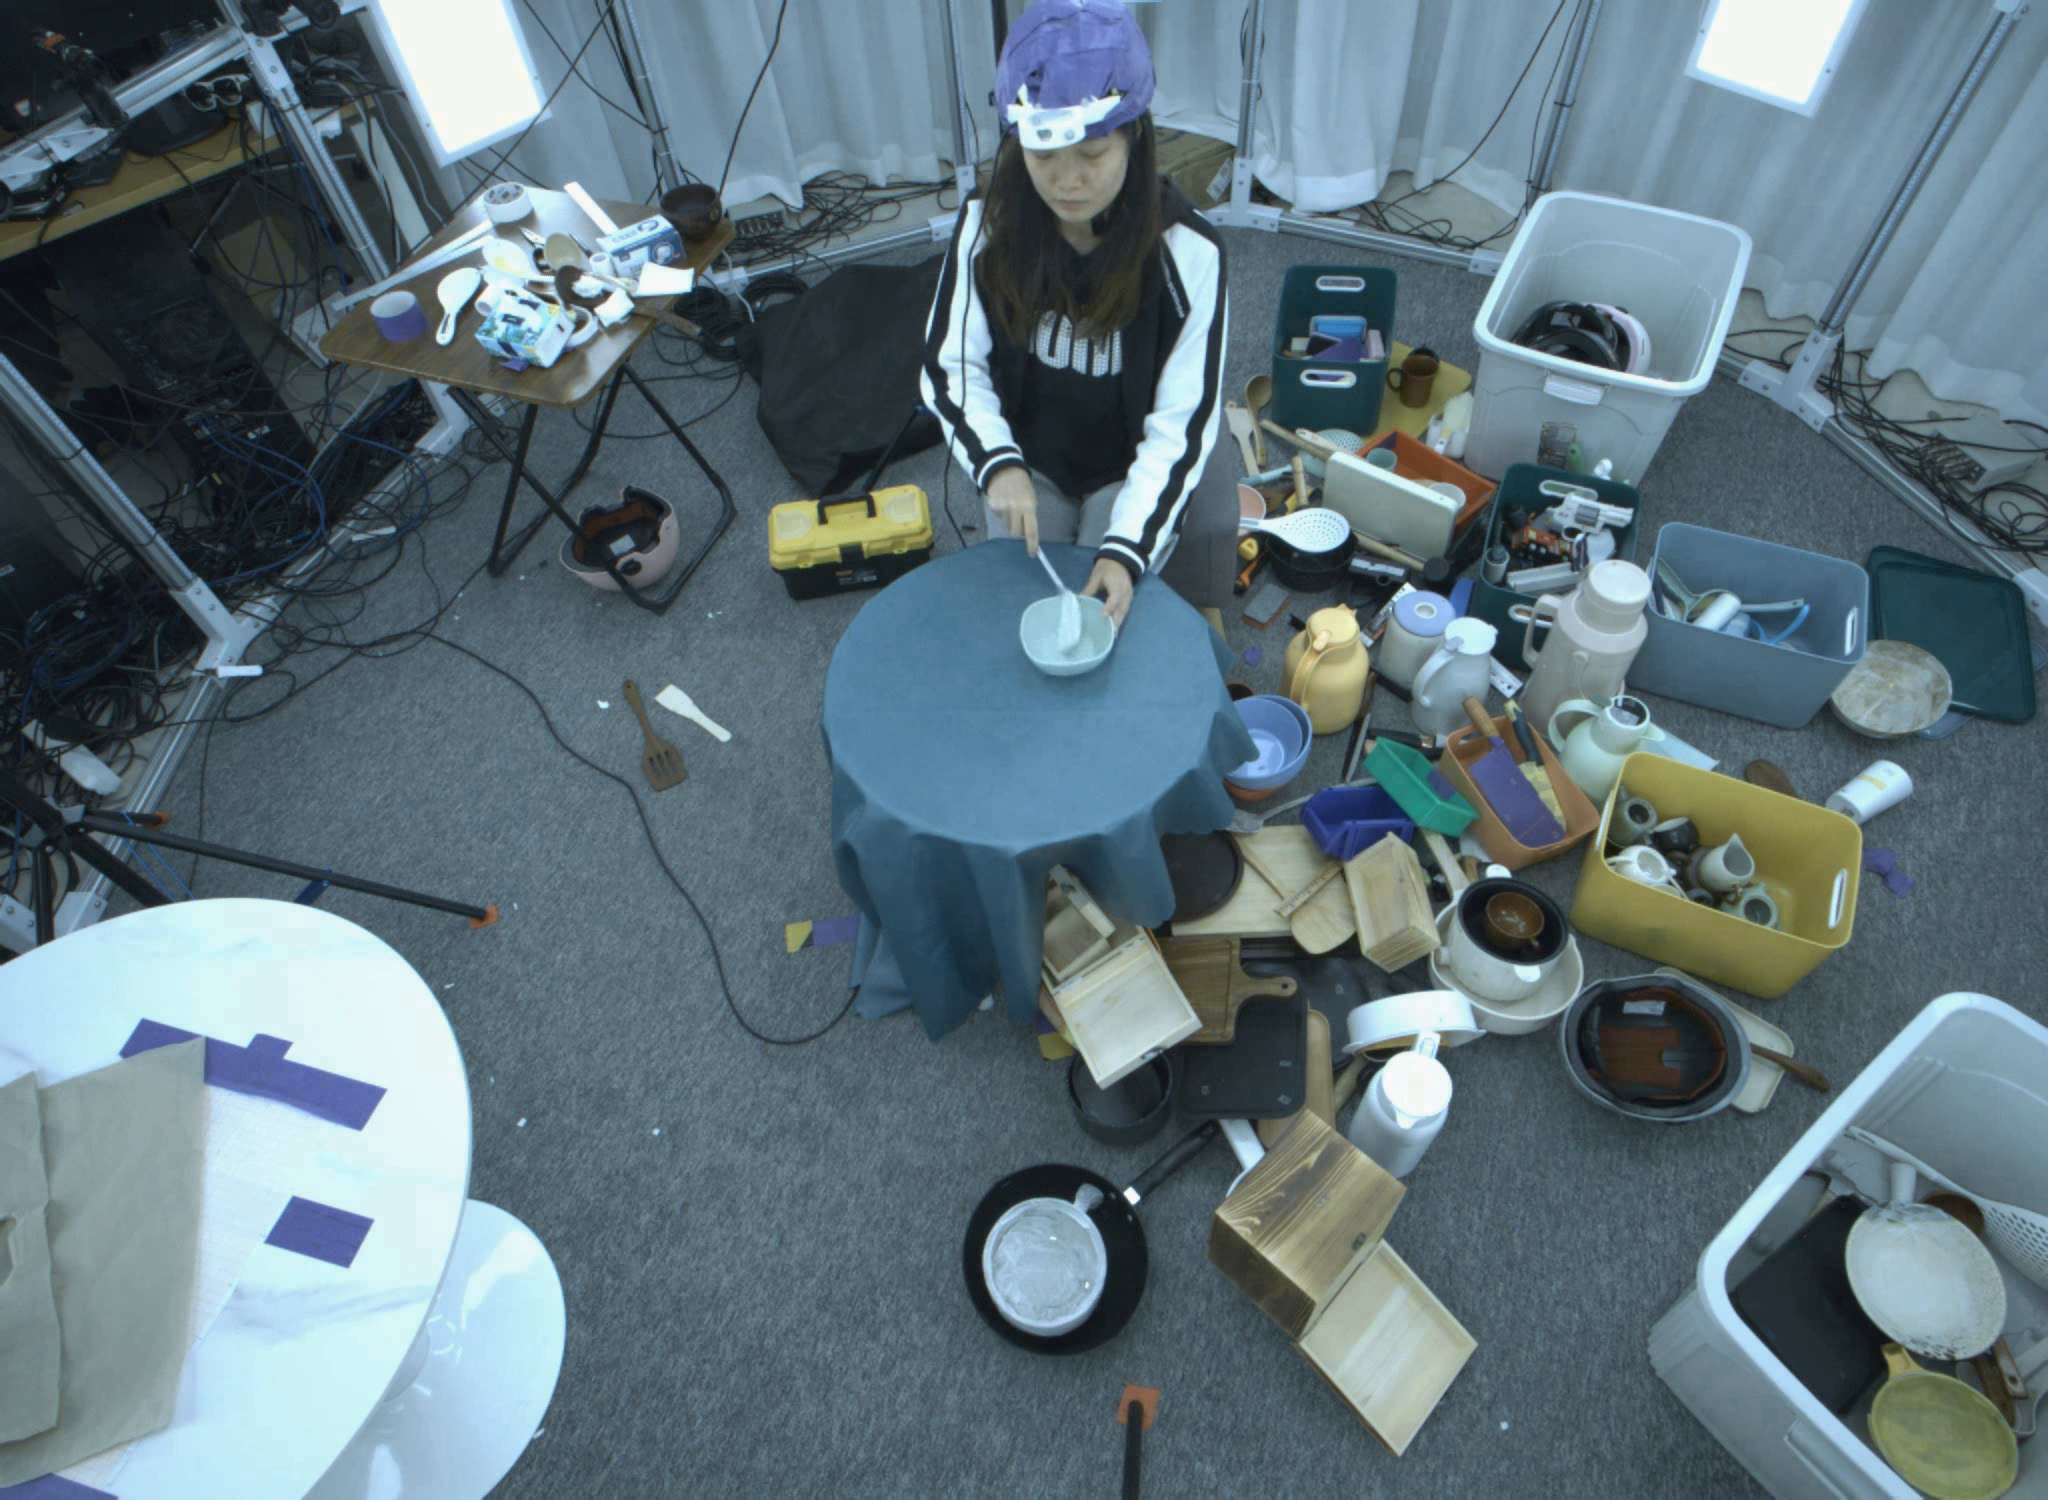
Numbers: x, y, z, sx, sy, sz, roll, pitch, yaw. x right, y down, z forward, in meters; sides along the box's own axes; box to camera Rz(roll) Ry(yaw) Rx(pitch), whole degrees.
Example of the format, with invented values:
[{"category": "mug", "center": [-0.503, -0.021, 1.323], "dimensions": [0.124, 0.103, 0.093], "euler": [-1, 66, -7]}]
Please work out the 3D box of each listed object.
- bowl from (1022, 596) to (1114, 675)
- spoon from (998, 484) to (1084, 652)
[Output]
[{"category": "bowl", "center": [0.067, -0.164, 1.869], "dimensions": [0.151, 0.059, 0.150], "euler": [-1, 55, 2]}, {"category": "spoon", "center": [0.015, -0.279, 1.855], "dimensions": [0.060, 0.099, 0.277], "euler": [-32, 90, -25]}]
